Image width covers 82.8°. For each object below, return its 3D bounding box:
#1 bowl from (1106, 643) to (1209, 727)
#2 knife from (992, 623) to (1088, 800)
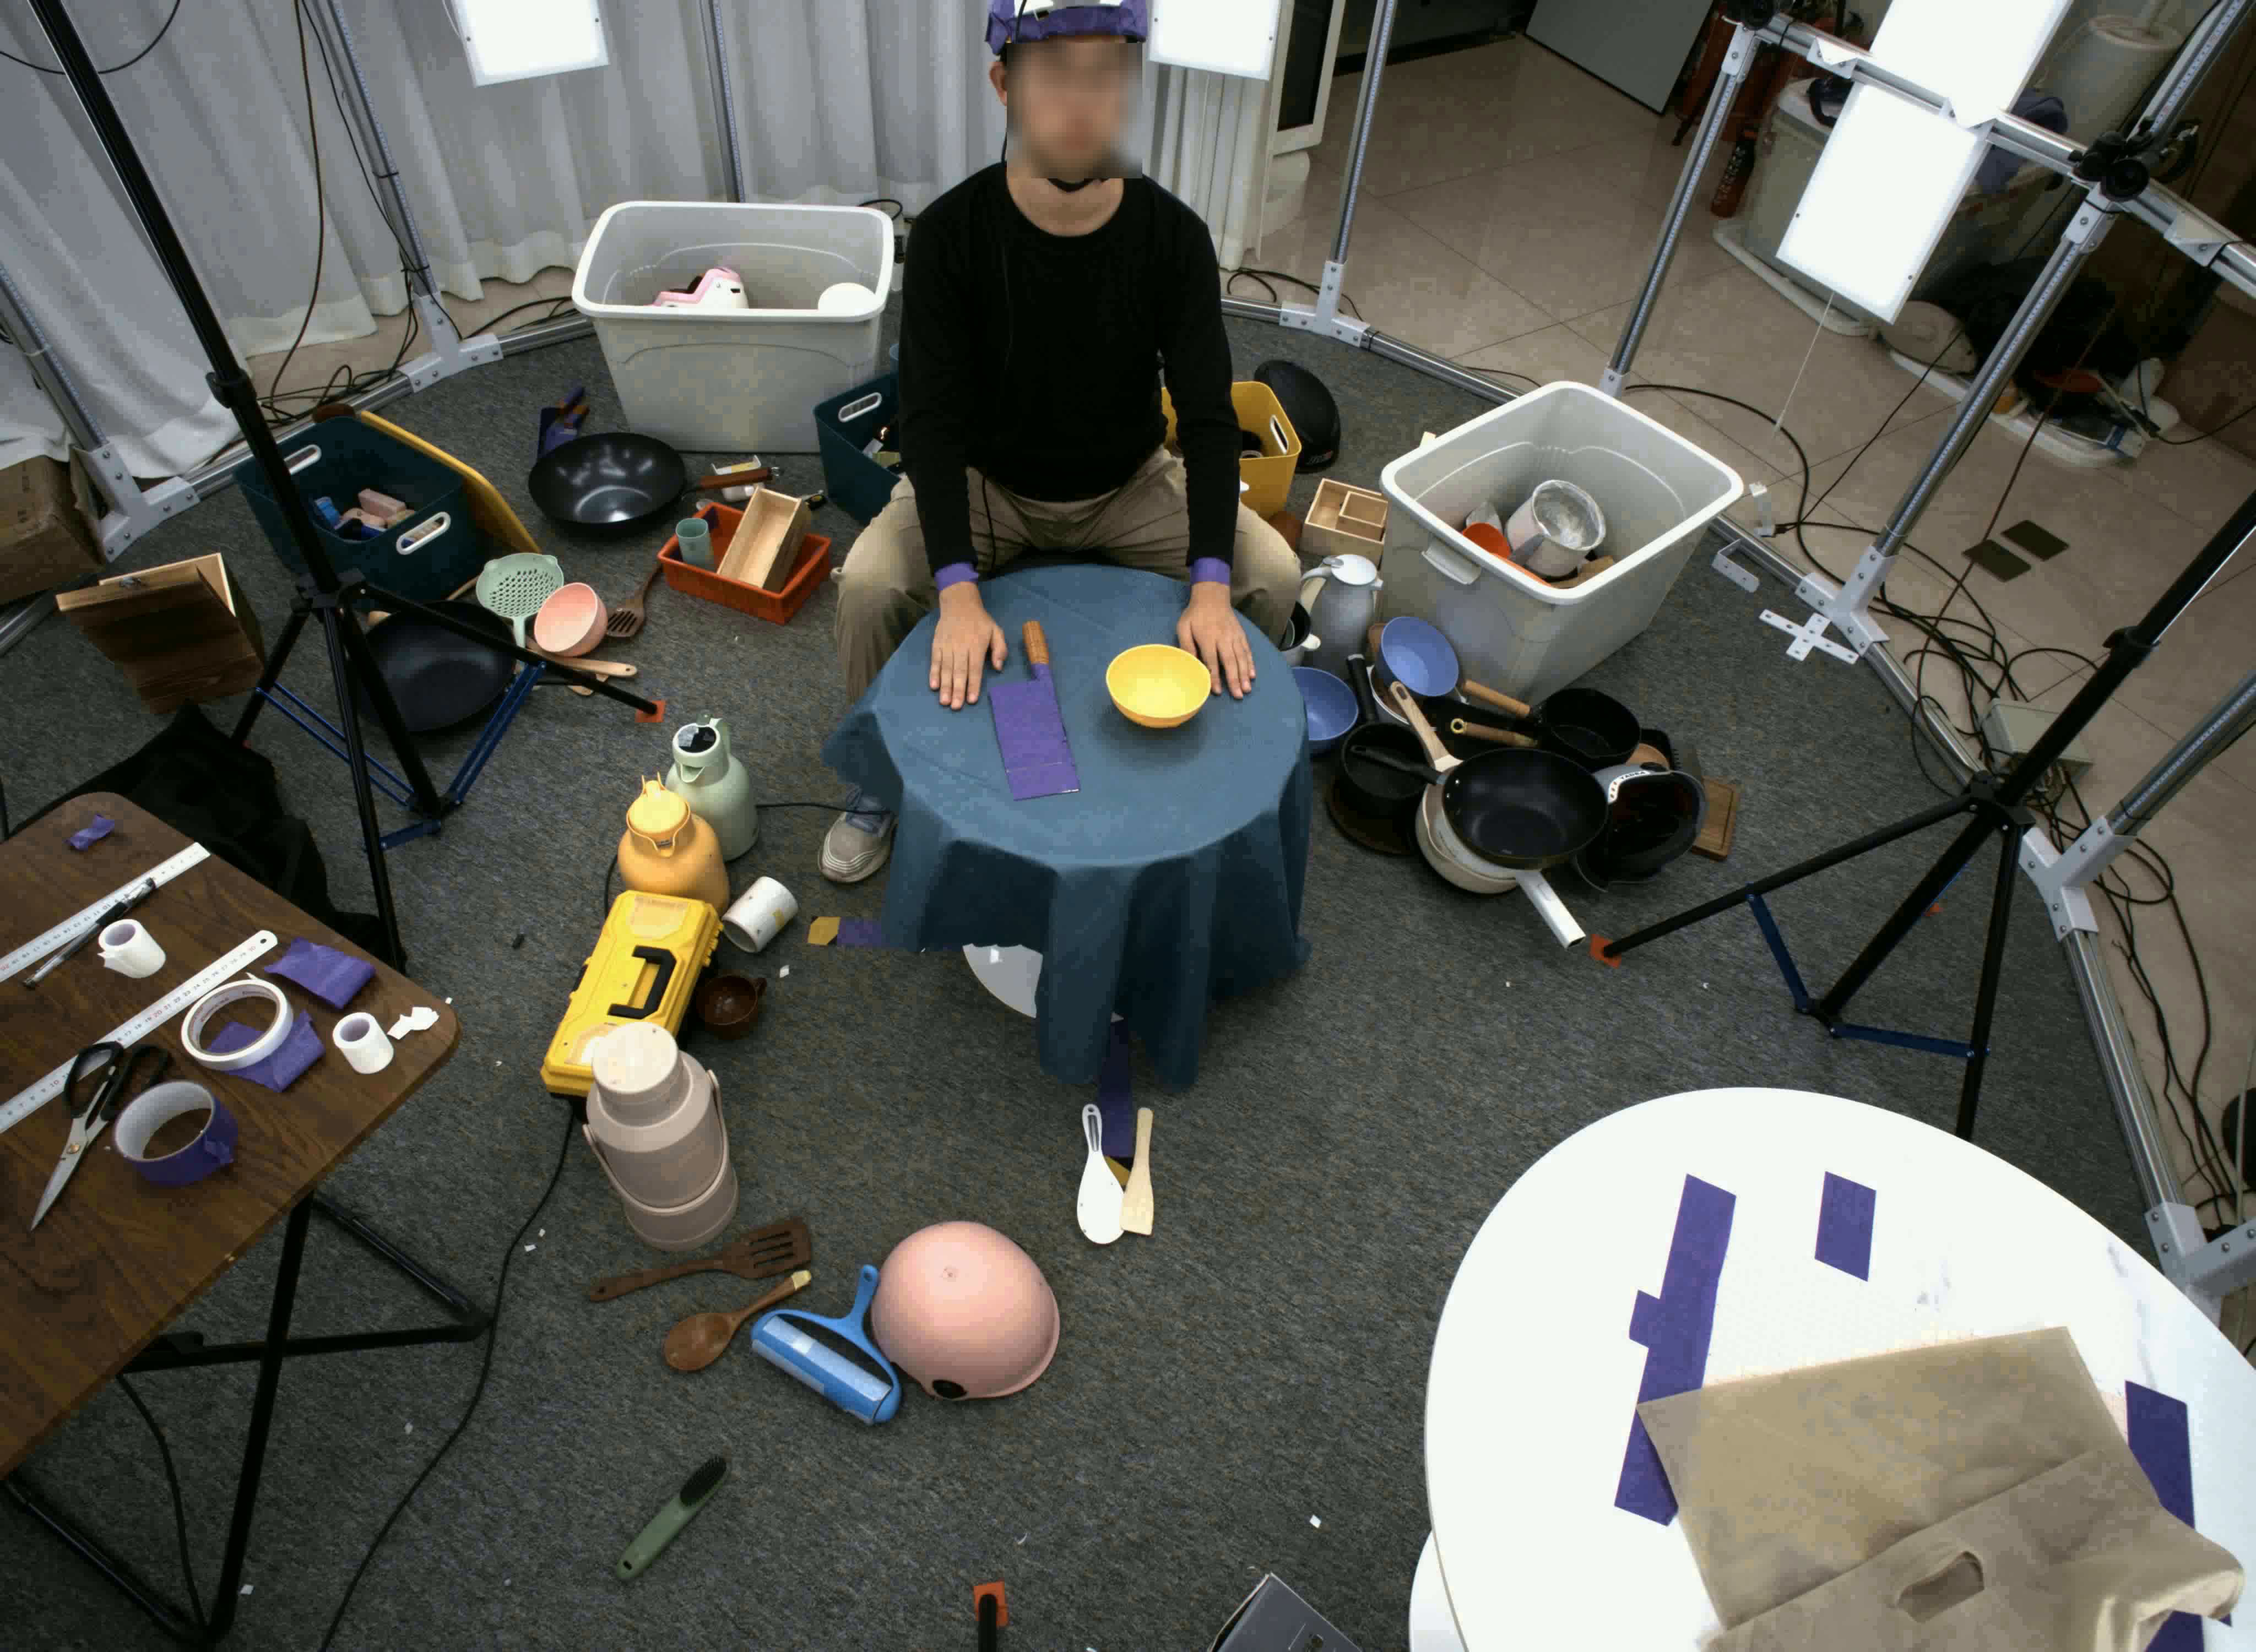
[{"bbox_3d":[0.039,-0.185,1.793,0.145,0.058,0.149,3,50,-4],"label":"bowl"},{"bbox_3d":[-0.137,-0.165,1.786,0.104,0.031,0.323,-8,51,-11],"label":"knife"}]
